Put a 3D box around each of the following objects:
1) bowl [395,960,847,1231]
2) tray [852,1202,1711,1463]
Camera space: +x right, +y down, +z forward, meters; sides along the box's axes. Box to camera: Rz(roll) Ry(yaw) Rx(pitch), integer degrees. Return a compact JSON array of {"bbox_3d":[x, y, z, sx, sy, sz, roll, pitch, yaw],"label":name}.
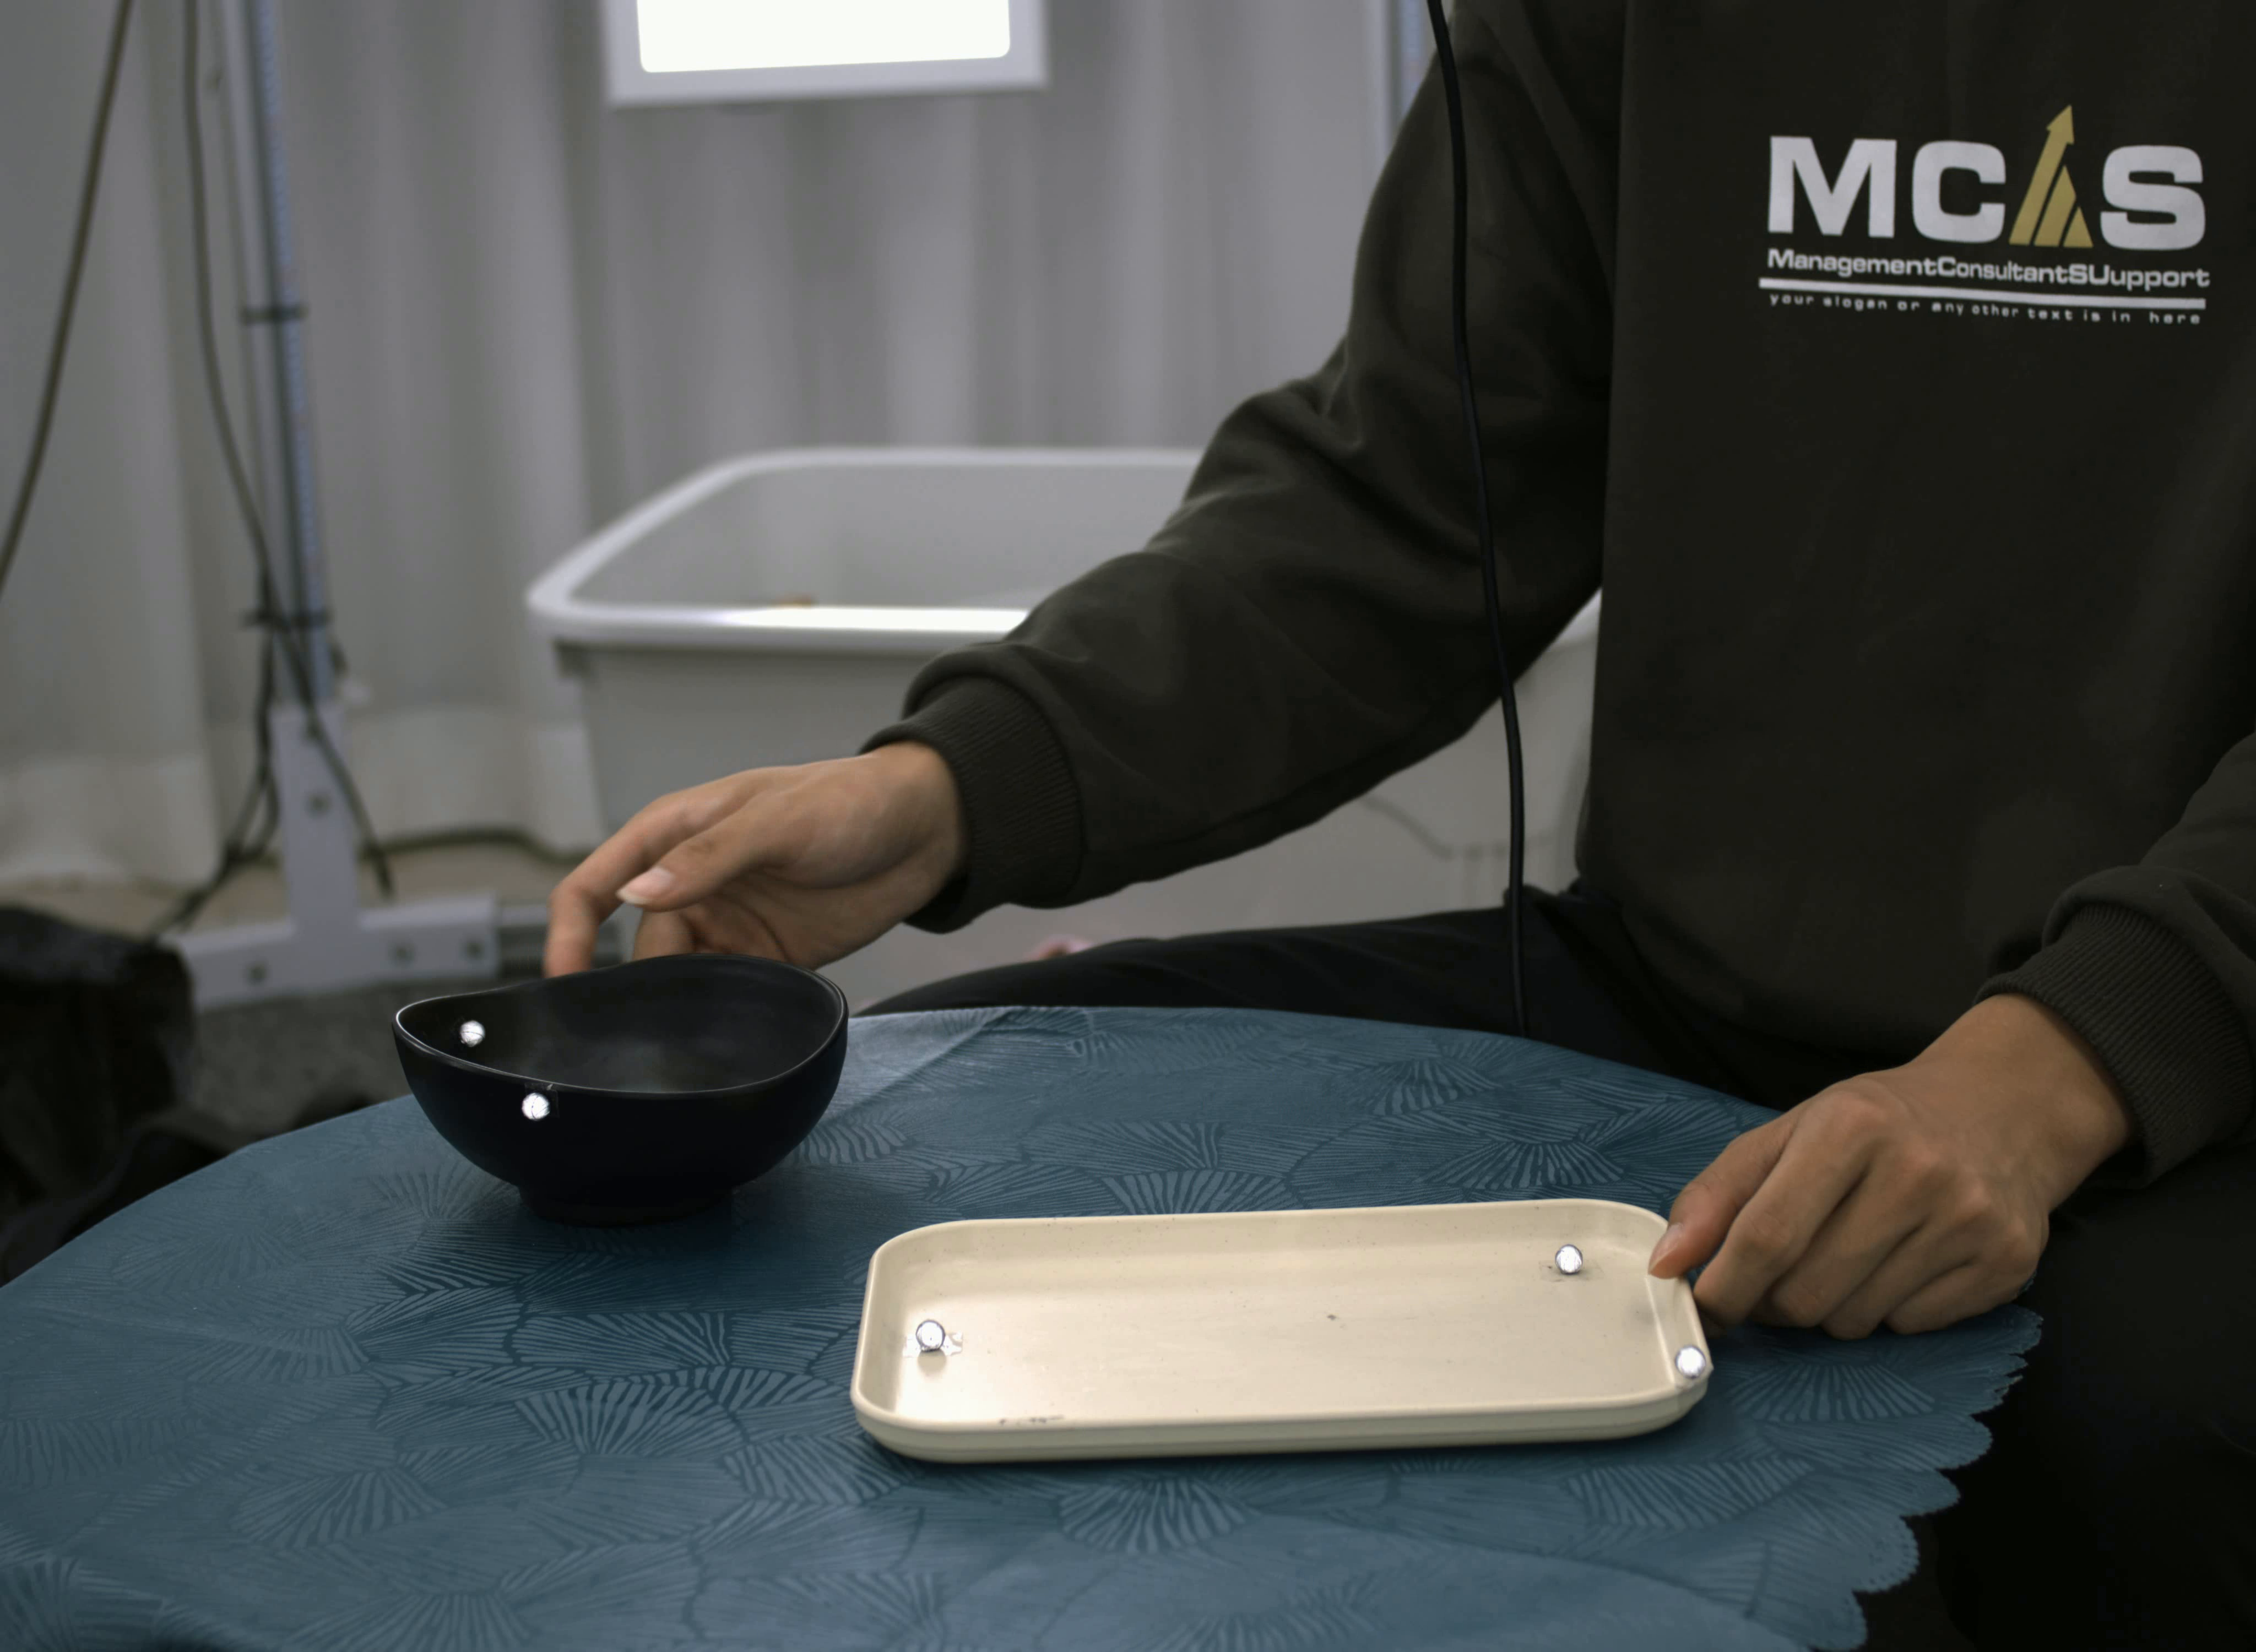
[{"bbox_3d":[-0.160,0.088,1.727,0.137,0.066,0.171,-10,15,-30],"label":"bowl"},{"bbox_3d":[0.042,0.145,1.564,0.239,0.017,0.172,-2,14,1],"label":"tray"}]
